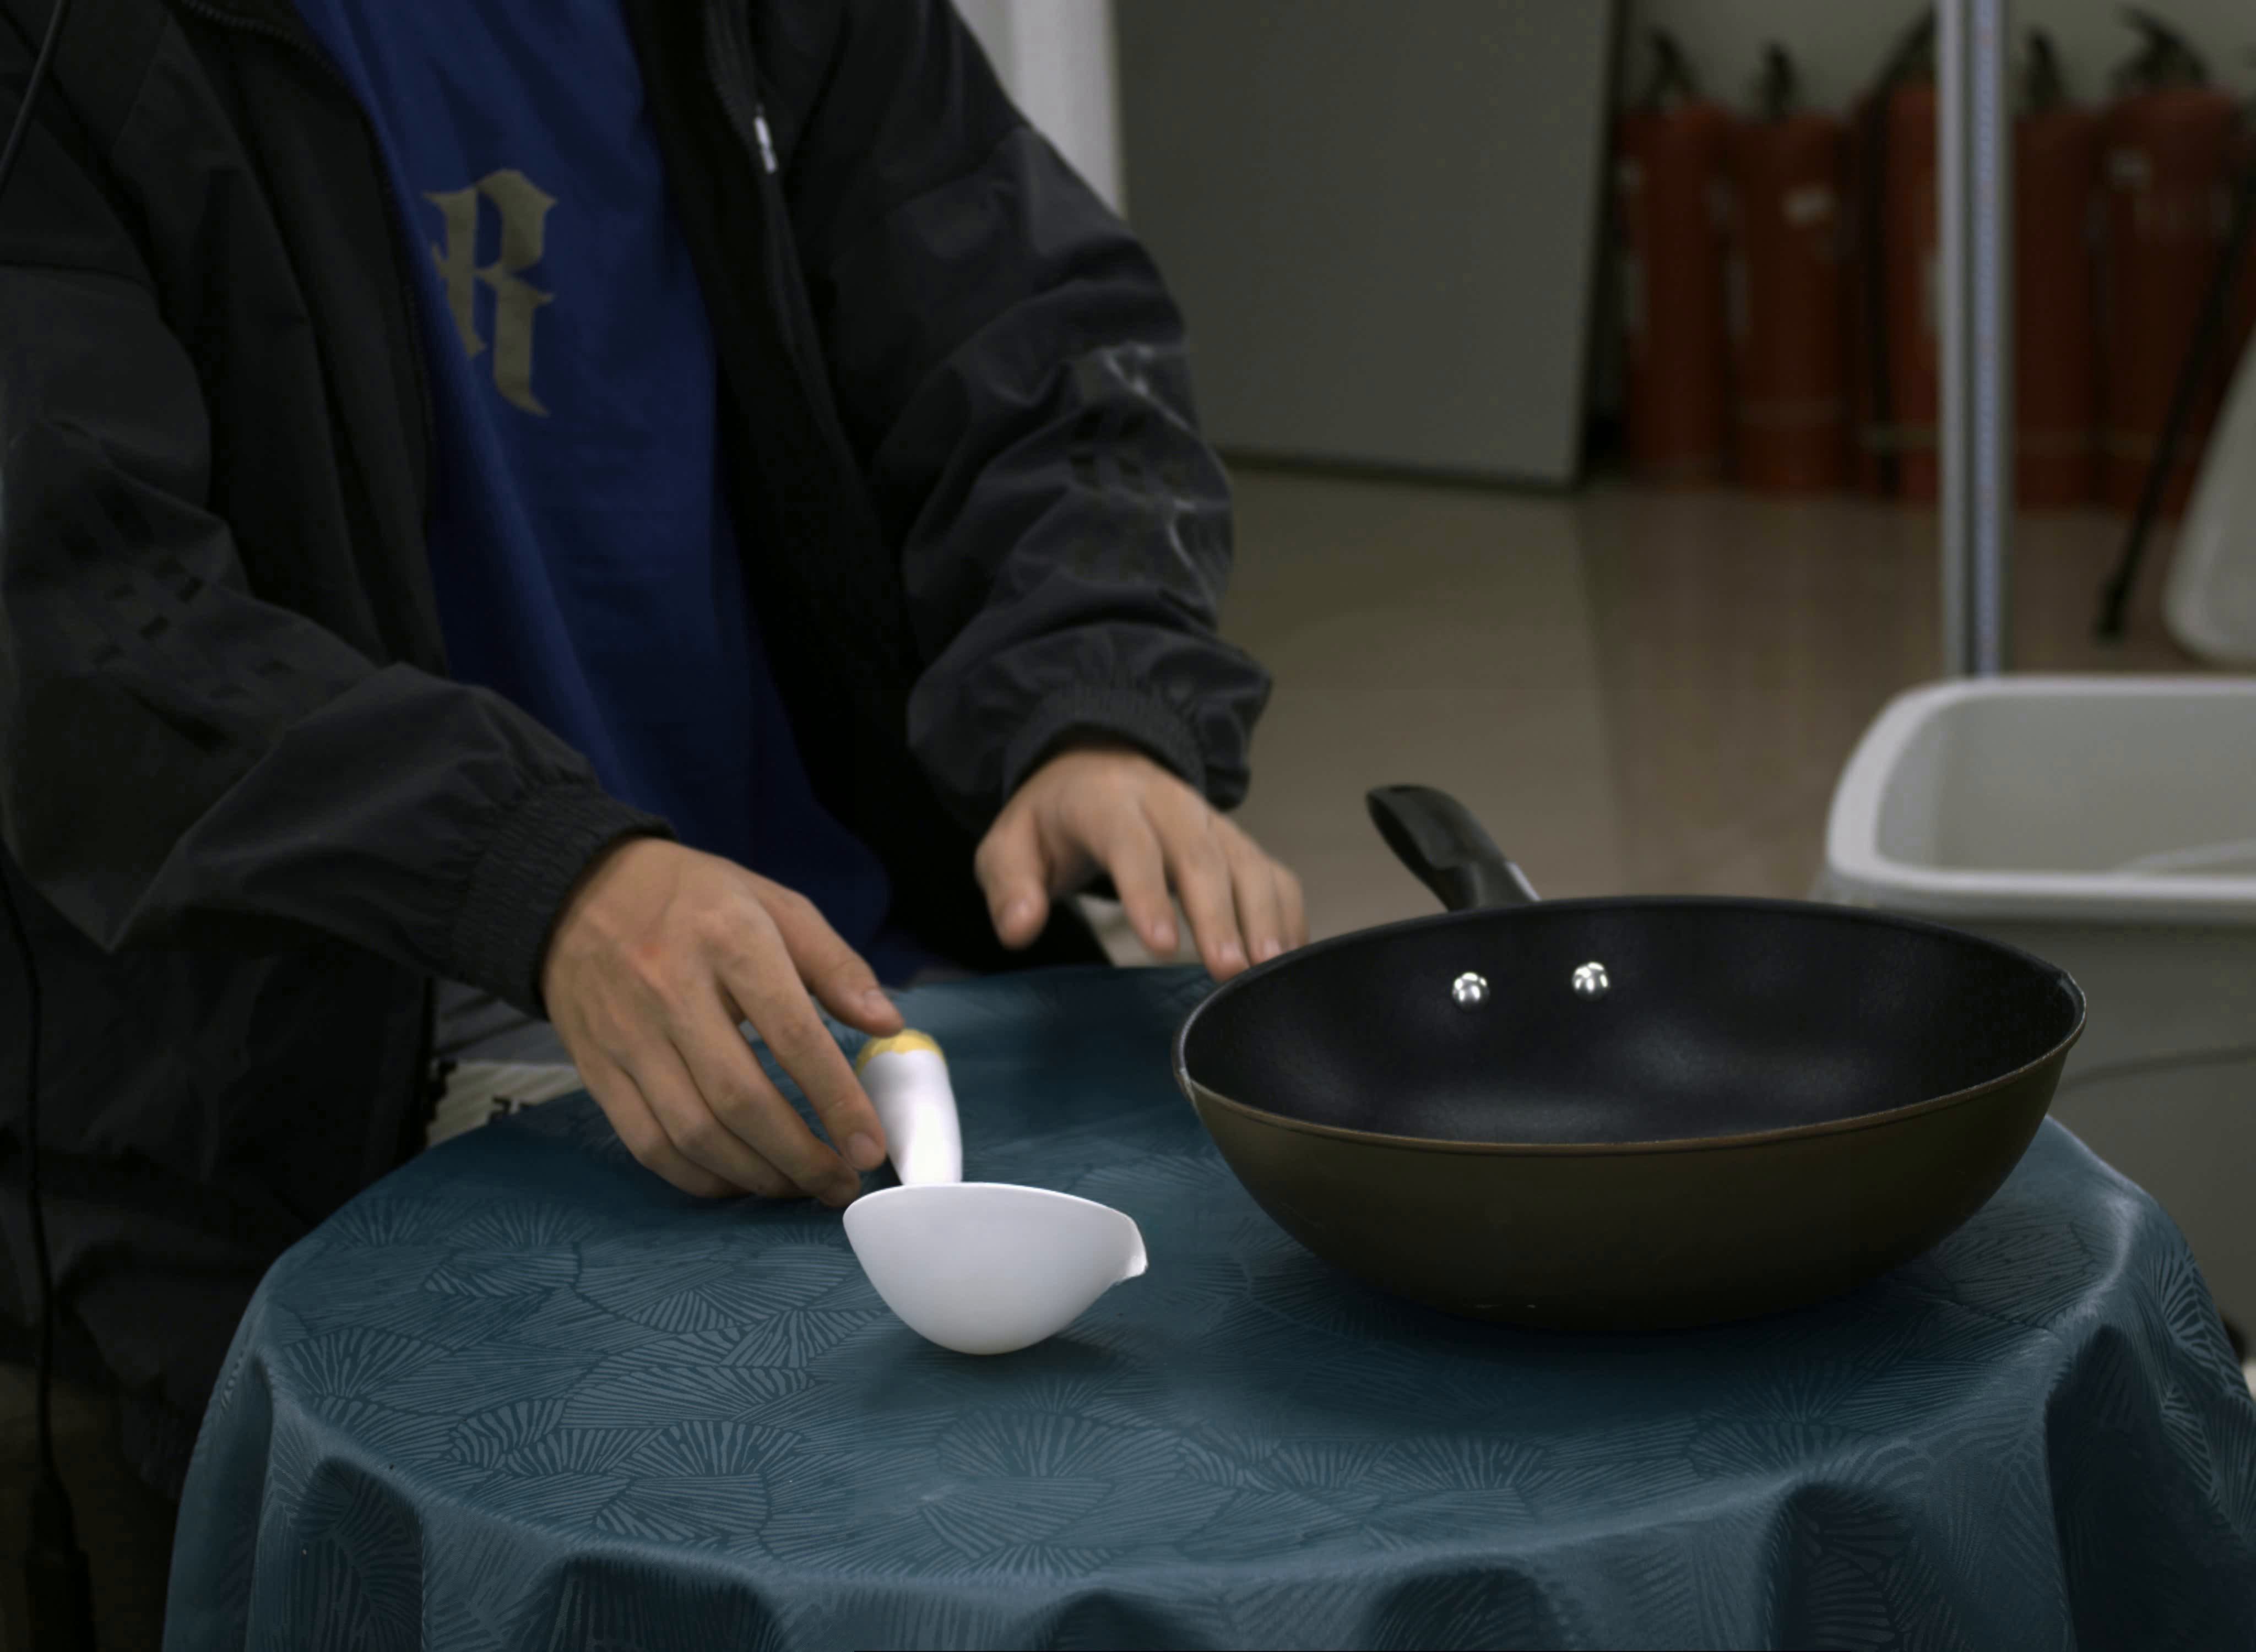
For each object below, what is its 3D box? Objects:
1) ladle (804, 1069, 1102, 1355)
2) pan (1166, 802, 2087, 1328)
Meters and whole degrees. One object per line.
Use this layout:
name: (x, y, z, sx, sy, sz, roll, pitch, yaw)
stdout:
ladle: (-0.056, 0.107, 1.720, 0.089, 0.071, 0.293, -5, 11, -1)
pan: (0.139, 0.075, 1.749, 0.283, 0.088, 0.466, -6, 12, -8)
